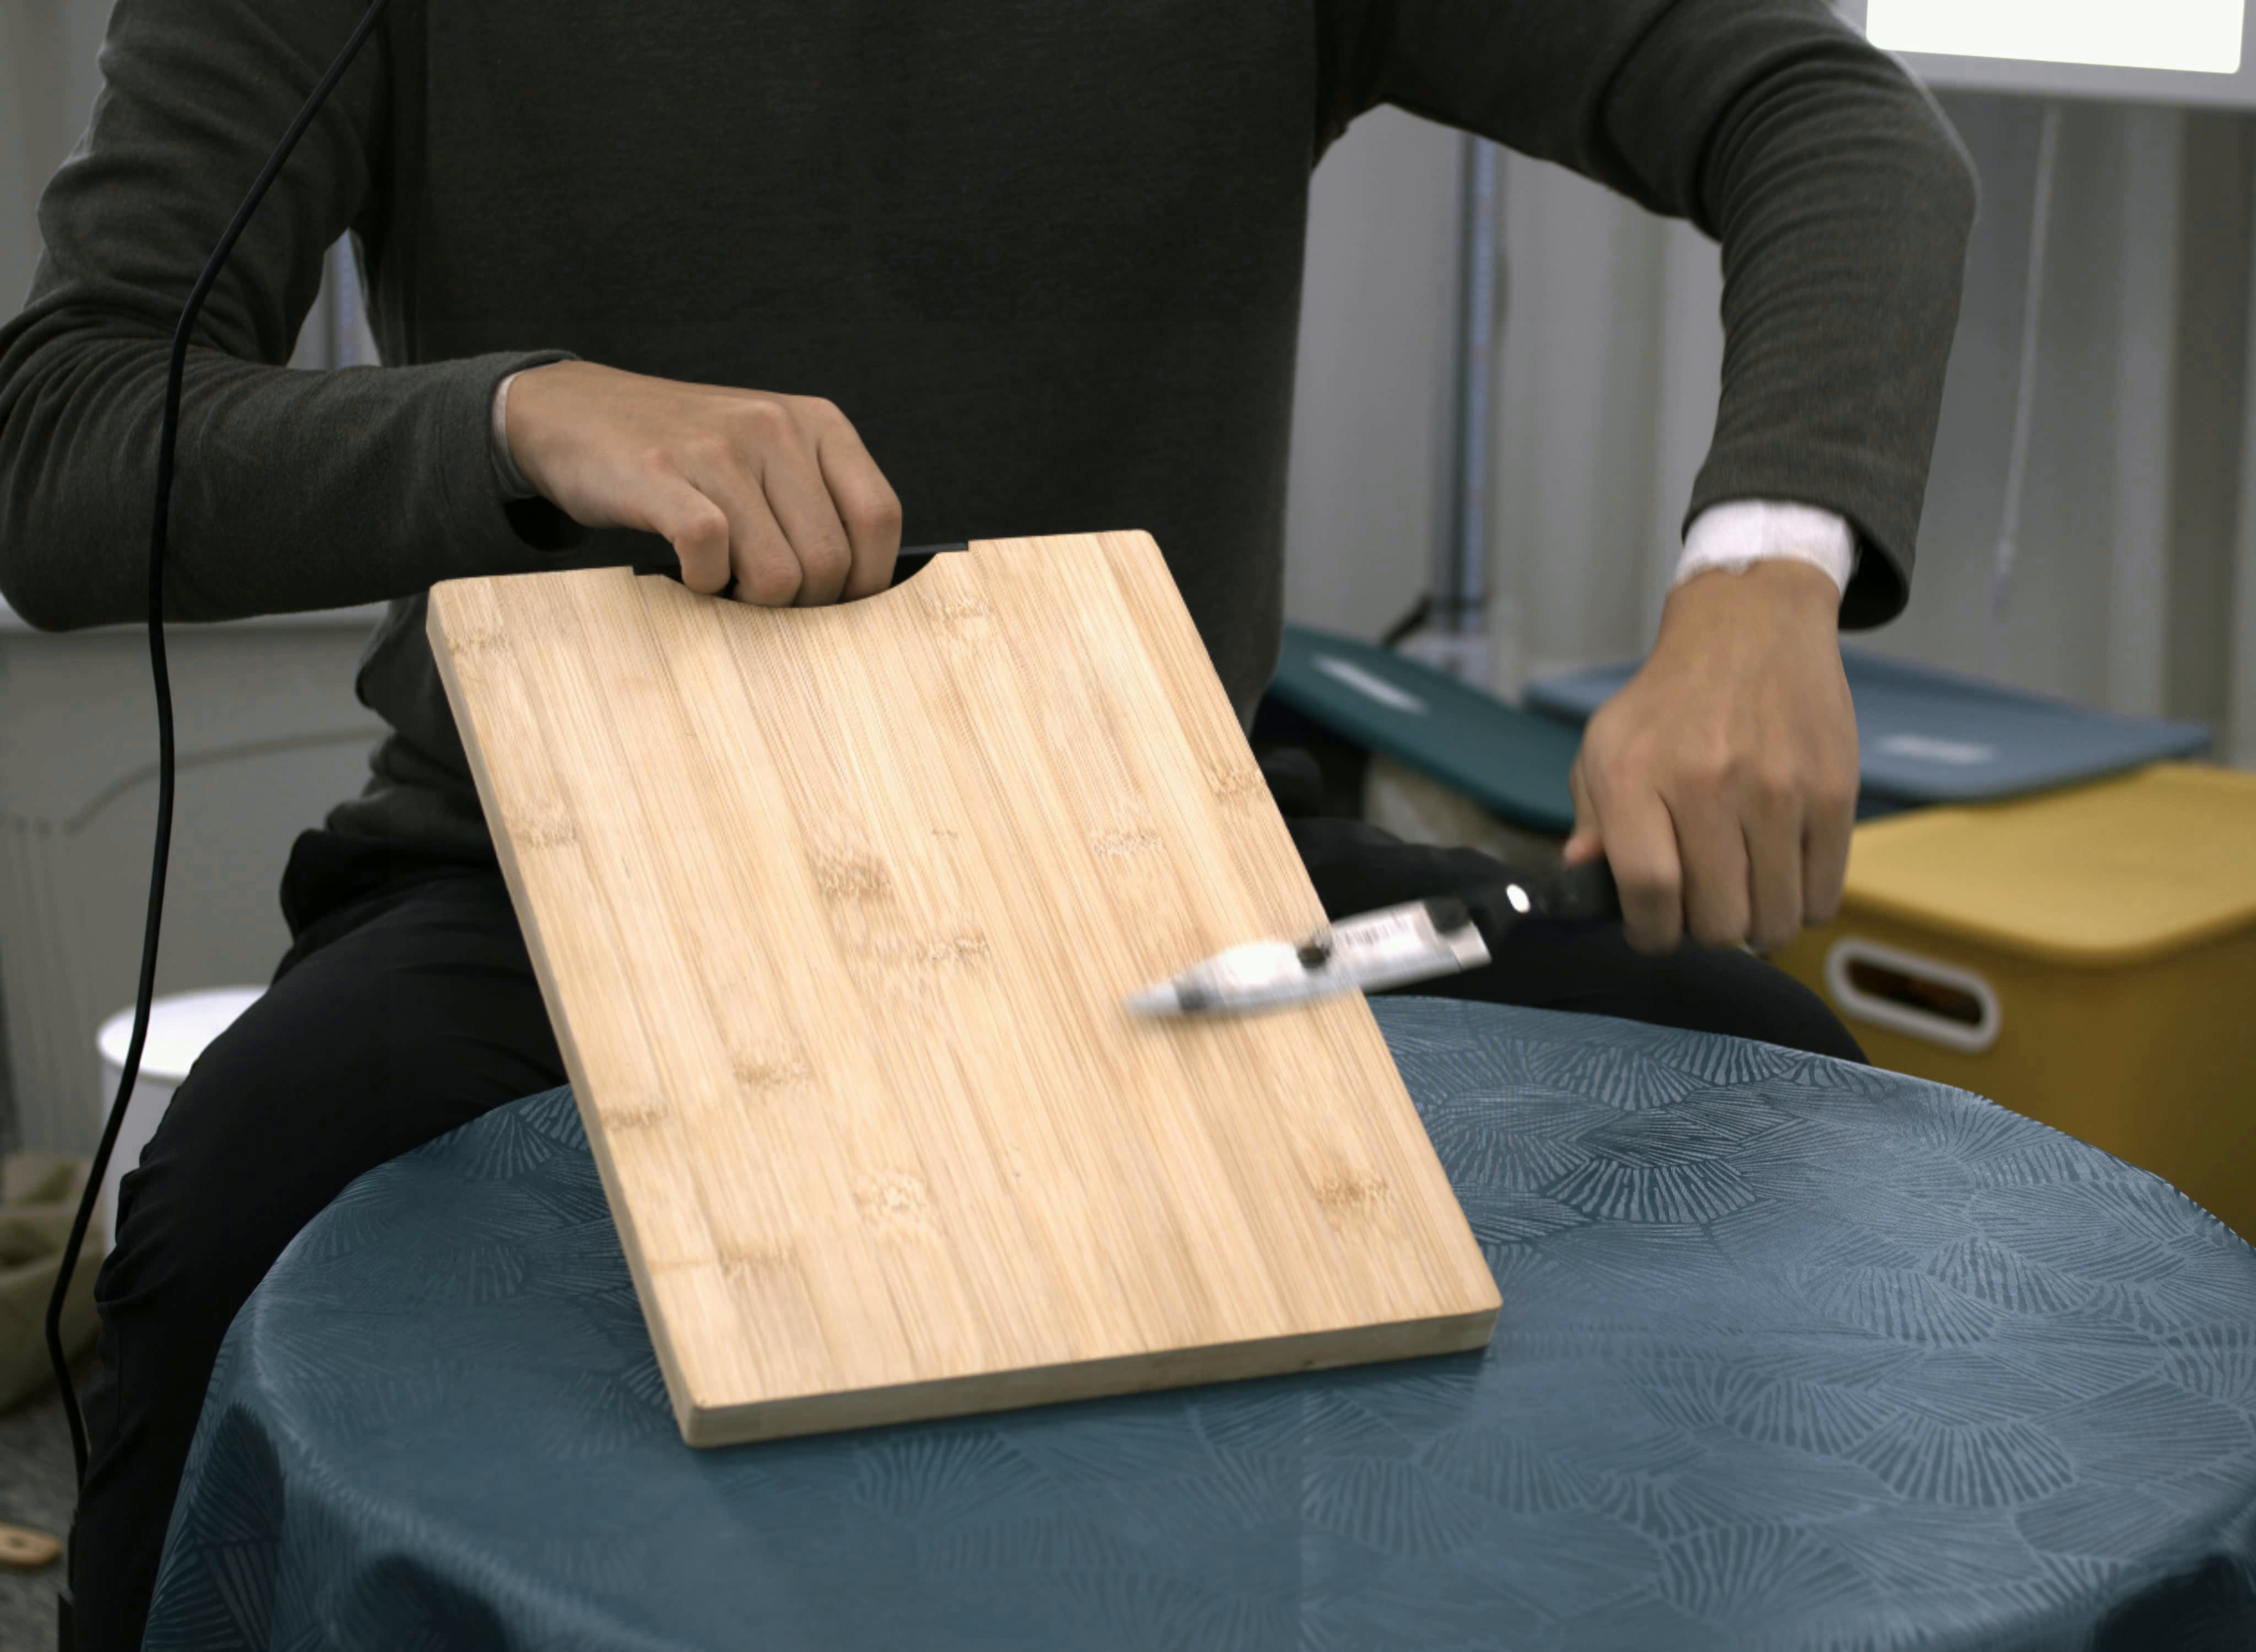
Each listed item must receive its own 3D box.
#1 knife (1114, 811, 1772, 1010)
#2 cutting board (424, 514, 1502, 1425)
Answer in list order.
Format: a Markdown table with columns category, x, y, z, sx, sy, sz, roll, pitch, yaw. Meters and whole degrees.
| category | x | y | z | sx | sy | sz | roll | pitch | yaw |
| --- | --- | --- | --- | --- | --- | --- | --- | --- | --- |
| knife | 0.096 | 0.026 | 1.598 | 0.239 | 0.016 | 0.024 | -13 | 63 | -29 |
| cutting board | -0.057 | 0.033 | 1.566 | 0.251 | 0.024 | 0.344 | -5 | 46 | -21 |
